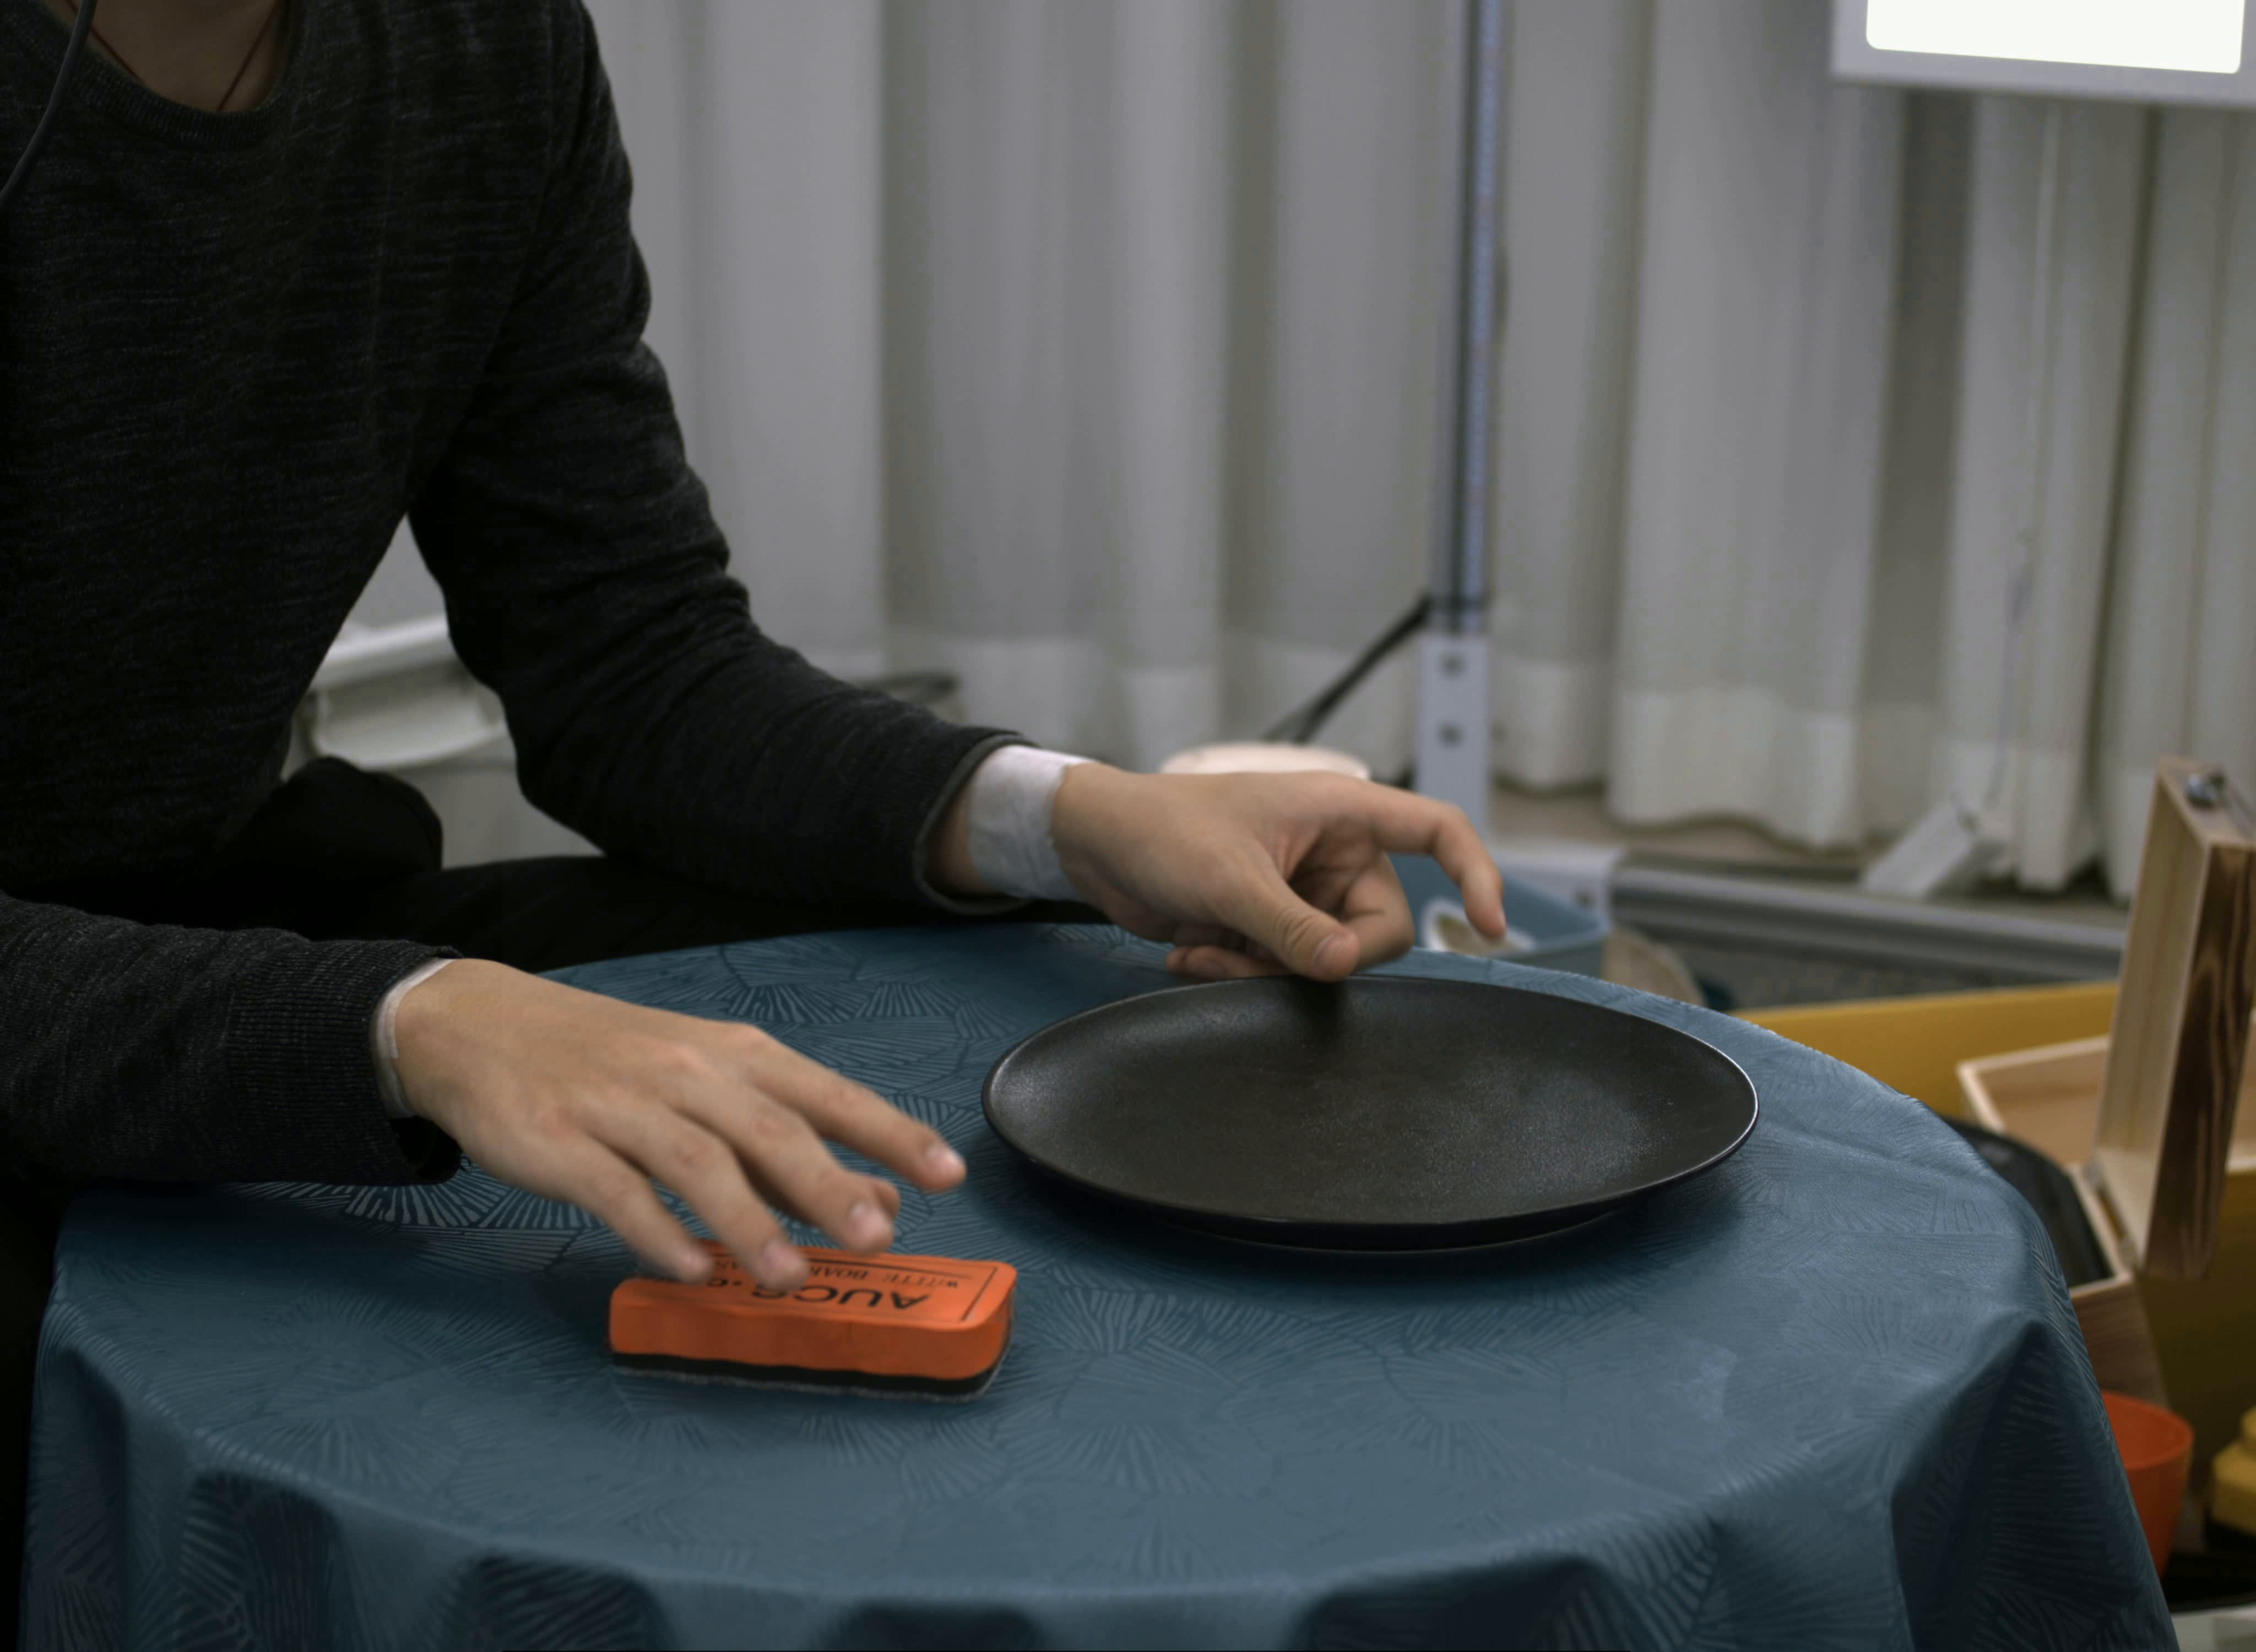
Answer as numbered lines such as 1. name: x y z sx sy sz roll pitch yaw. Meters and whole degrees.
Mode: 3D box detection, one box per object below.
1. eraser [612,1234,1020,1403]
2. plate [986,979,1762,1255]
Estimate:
1. eraser: -0.087 0.138 1.480 0.107 0.023 0.059 4 15 13
2. plate: 0.077 0.092 1.651 0.243 0.023 0.243 0 15 0
